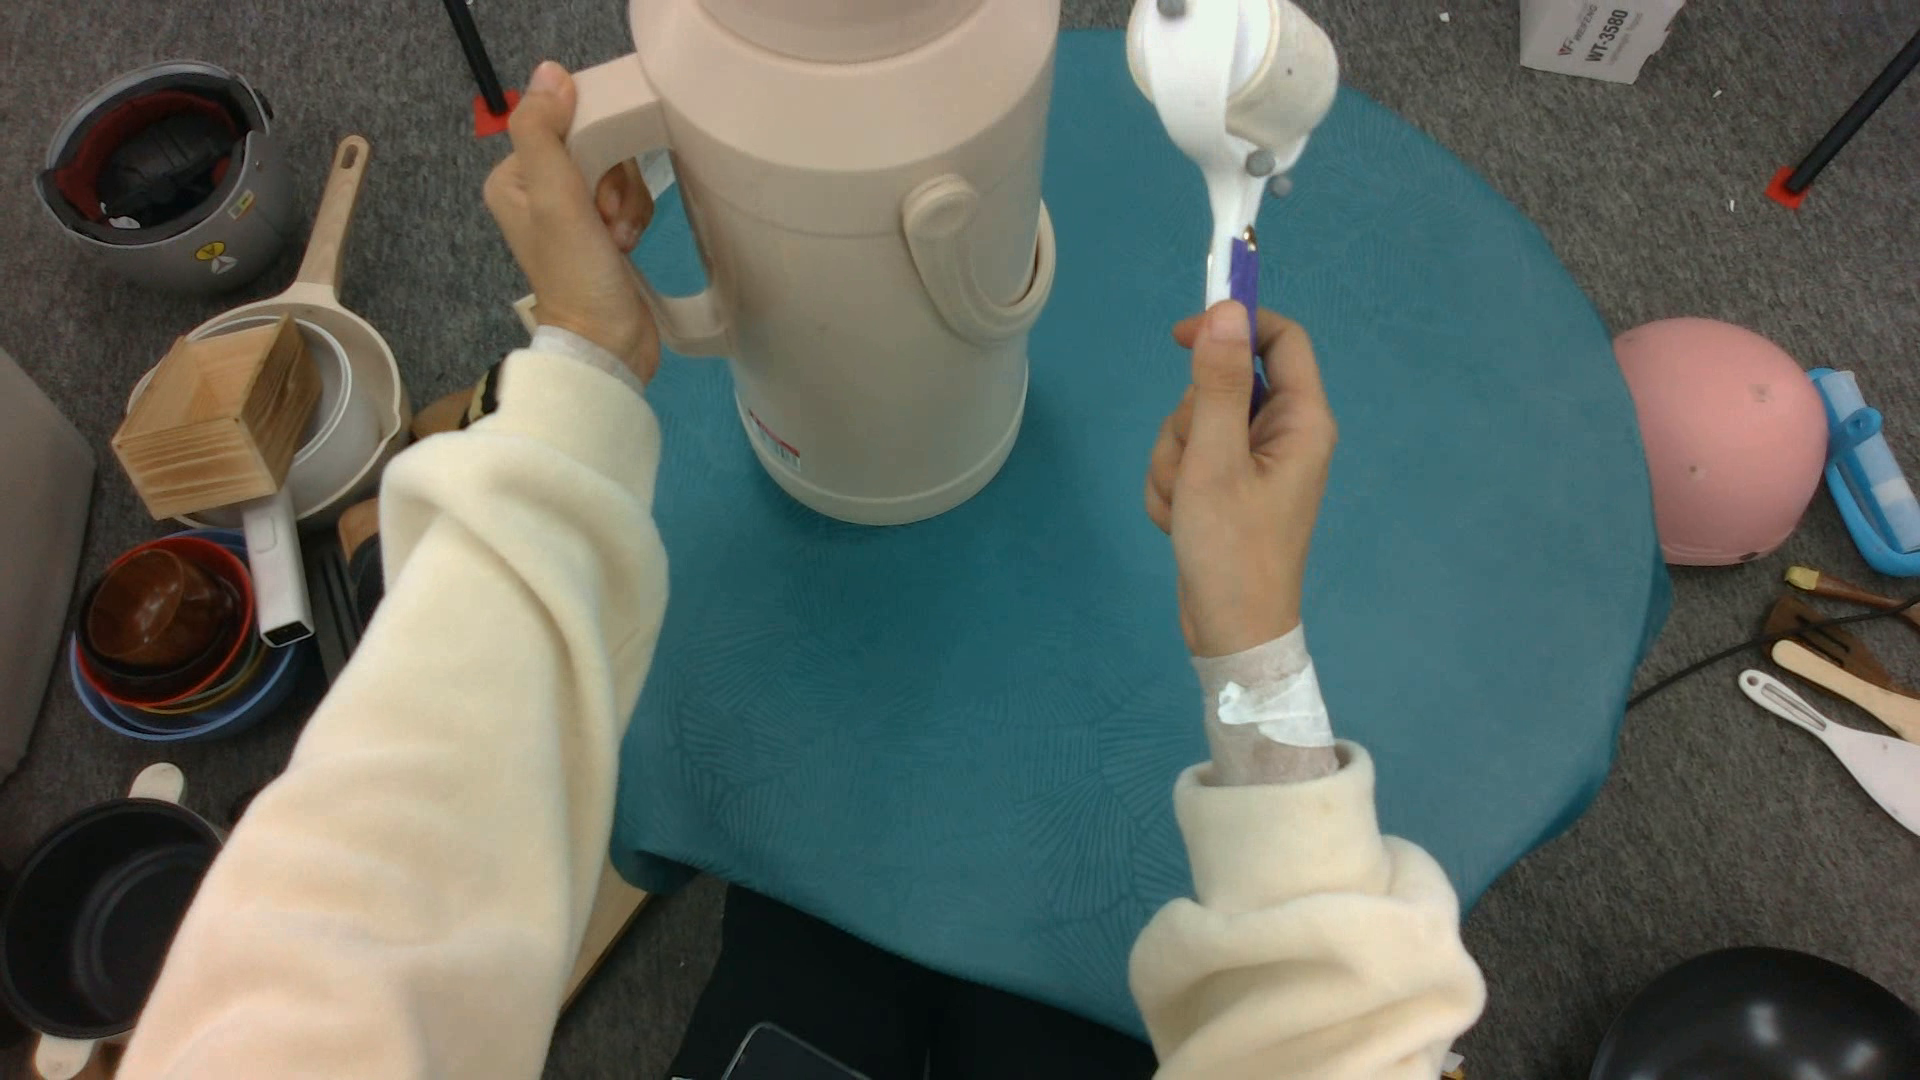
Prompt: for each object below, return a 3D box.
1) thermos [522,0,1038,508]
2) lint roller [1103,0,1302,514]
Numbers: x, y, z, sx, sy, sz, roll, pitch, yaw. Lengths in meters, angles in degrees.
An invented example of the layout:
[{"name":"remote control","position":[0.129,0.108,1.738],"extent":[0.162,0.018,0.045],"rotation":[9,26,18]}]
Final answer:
[{"name":"thermos","position":[-0.064,-0.161,0.590],"extent":[0.207,0.405,0.175],"rotation":[-24,70,-10]},{"name":"lint roller","position":[0.091,-0.099,0.459],"extent":[0.050,0.133,0.180],"rotation":[-7,95,22]}]
